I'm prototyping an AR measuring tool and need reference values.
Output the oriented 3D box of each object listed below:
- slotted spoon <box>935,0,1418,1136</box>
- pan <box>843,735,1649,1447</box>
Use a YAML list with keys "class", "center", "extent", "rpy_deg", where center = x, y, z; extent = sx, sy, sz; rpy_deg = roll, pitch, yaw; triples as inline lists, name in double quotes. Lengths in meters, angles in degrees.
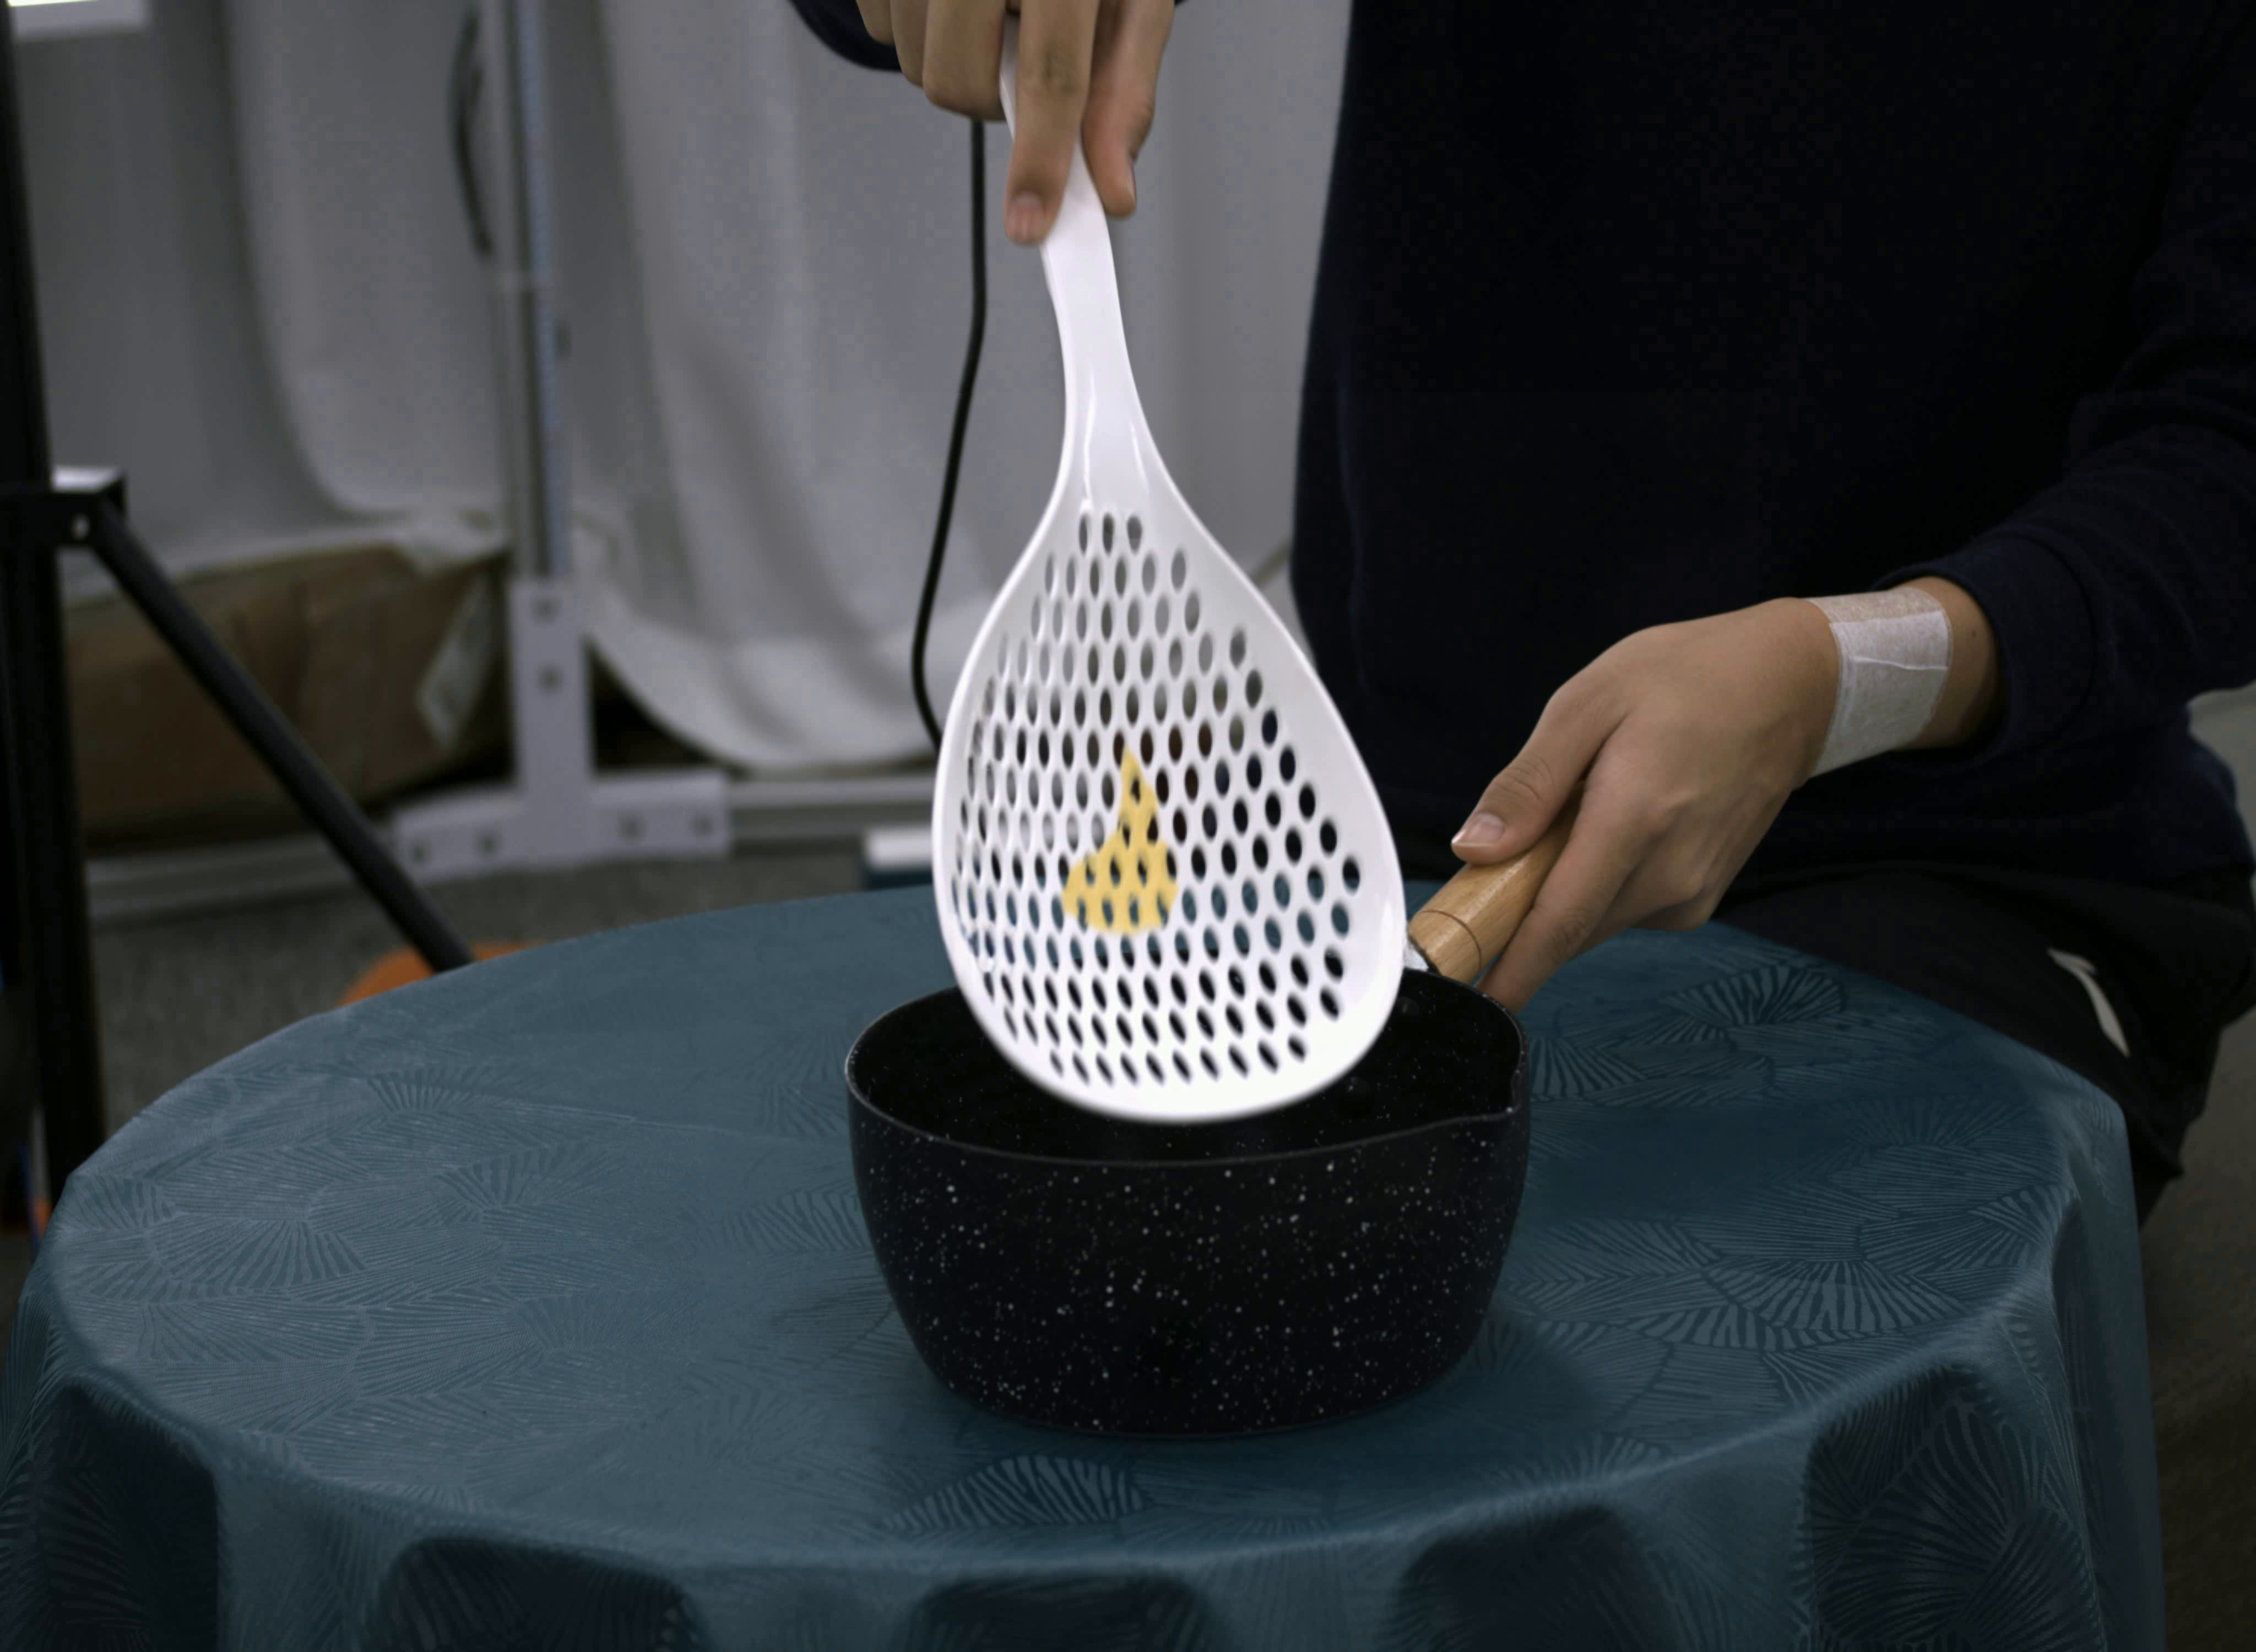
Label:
- class: "slotted spoon"
  center: [-0.009, -0.088, 1.422]
  extent: [0.134, 0.351, 0.051]
  rpy_deg: [-5, -9, -22]
- class: "pan"
  center: [0.058, 0.069, 1.488]
  extent: [0.211, 0.108, 0.336]
  rpy_deg: [6, 19, 32]
